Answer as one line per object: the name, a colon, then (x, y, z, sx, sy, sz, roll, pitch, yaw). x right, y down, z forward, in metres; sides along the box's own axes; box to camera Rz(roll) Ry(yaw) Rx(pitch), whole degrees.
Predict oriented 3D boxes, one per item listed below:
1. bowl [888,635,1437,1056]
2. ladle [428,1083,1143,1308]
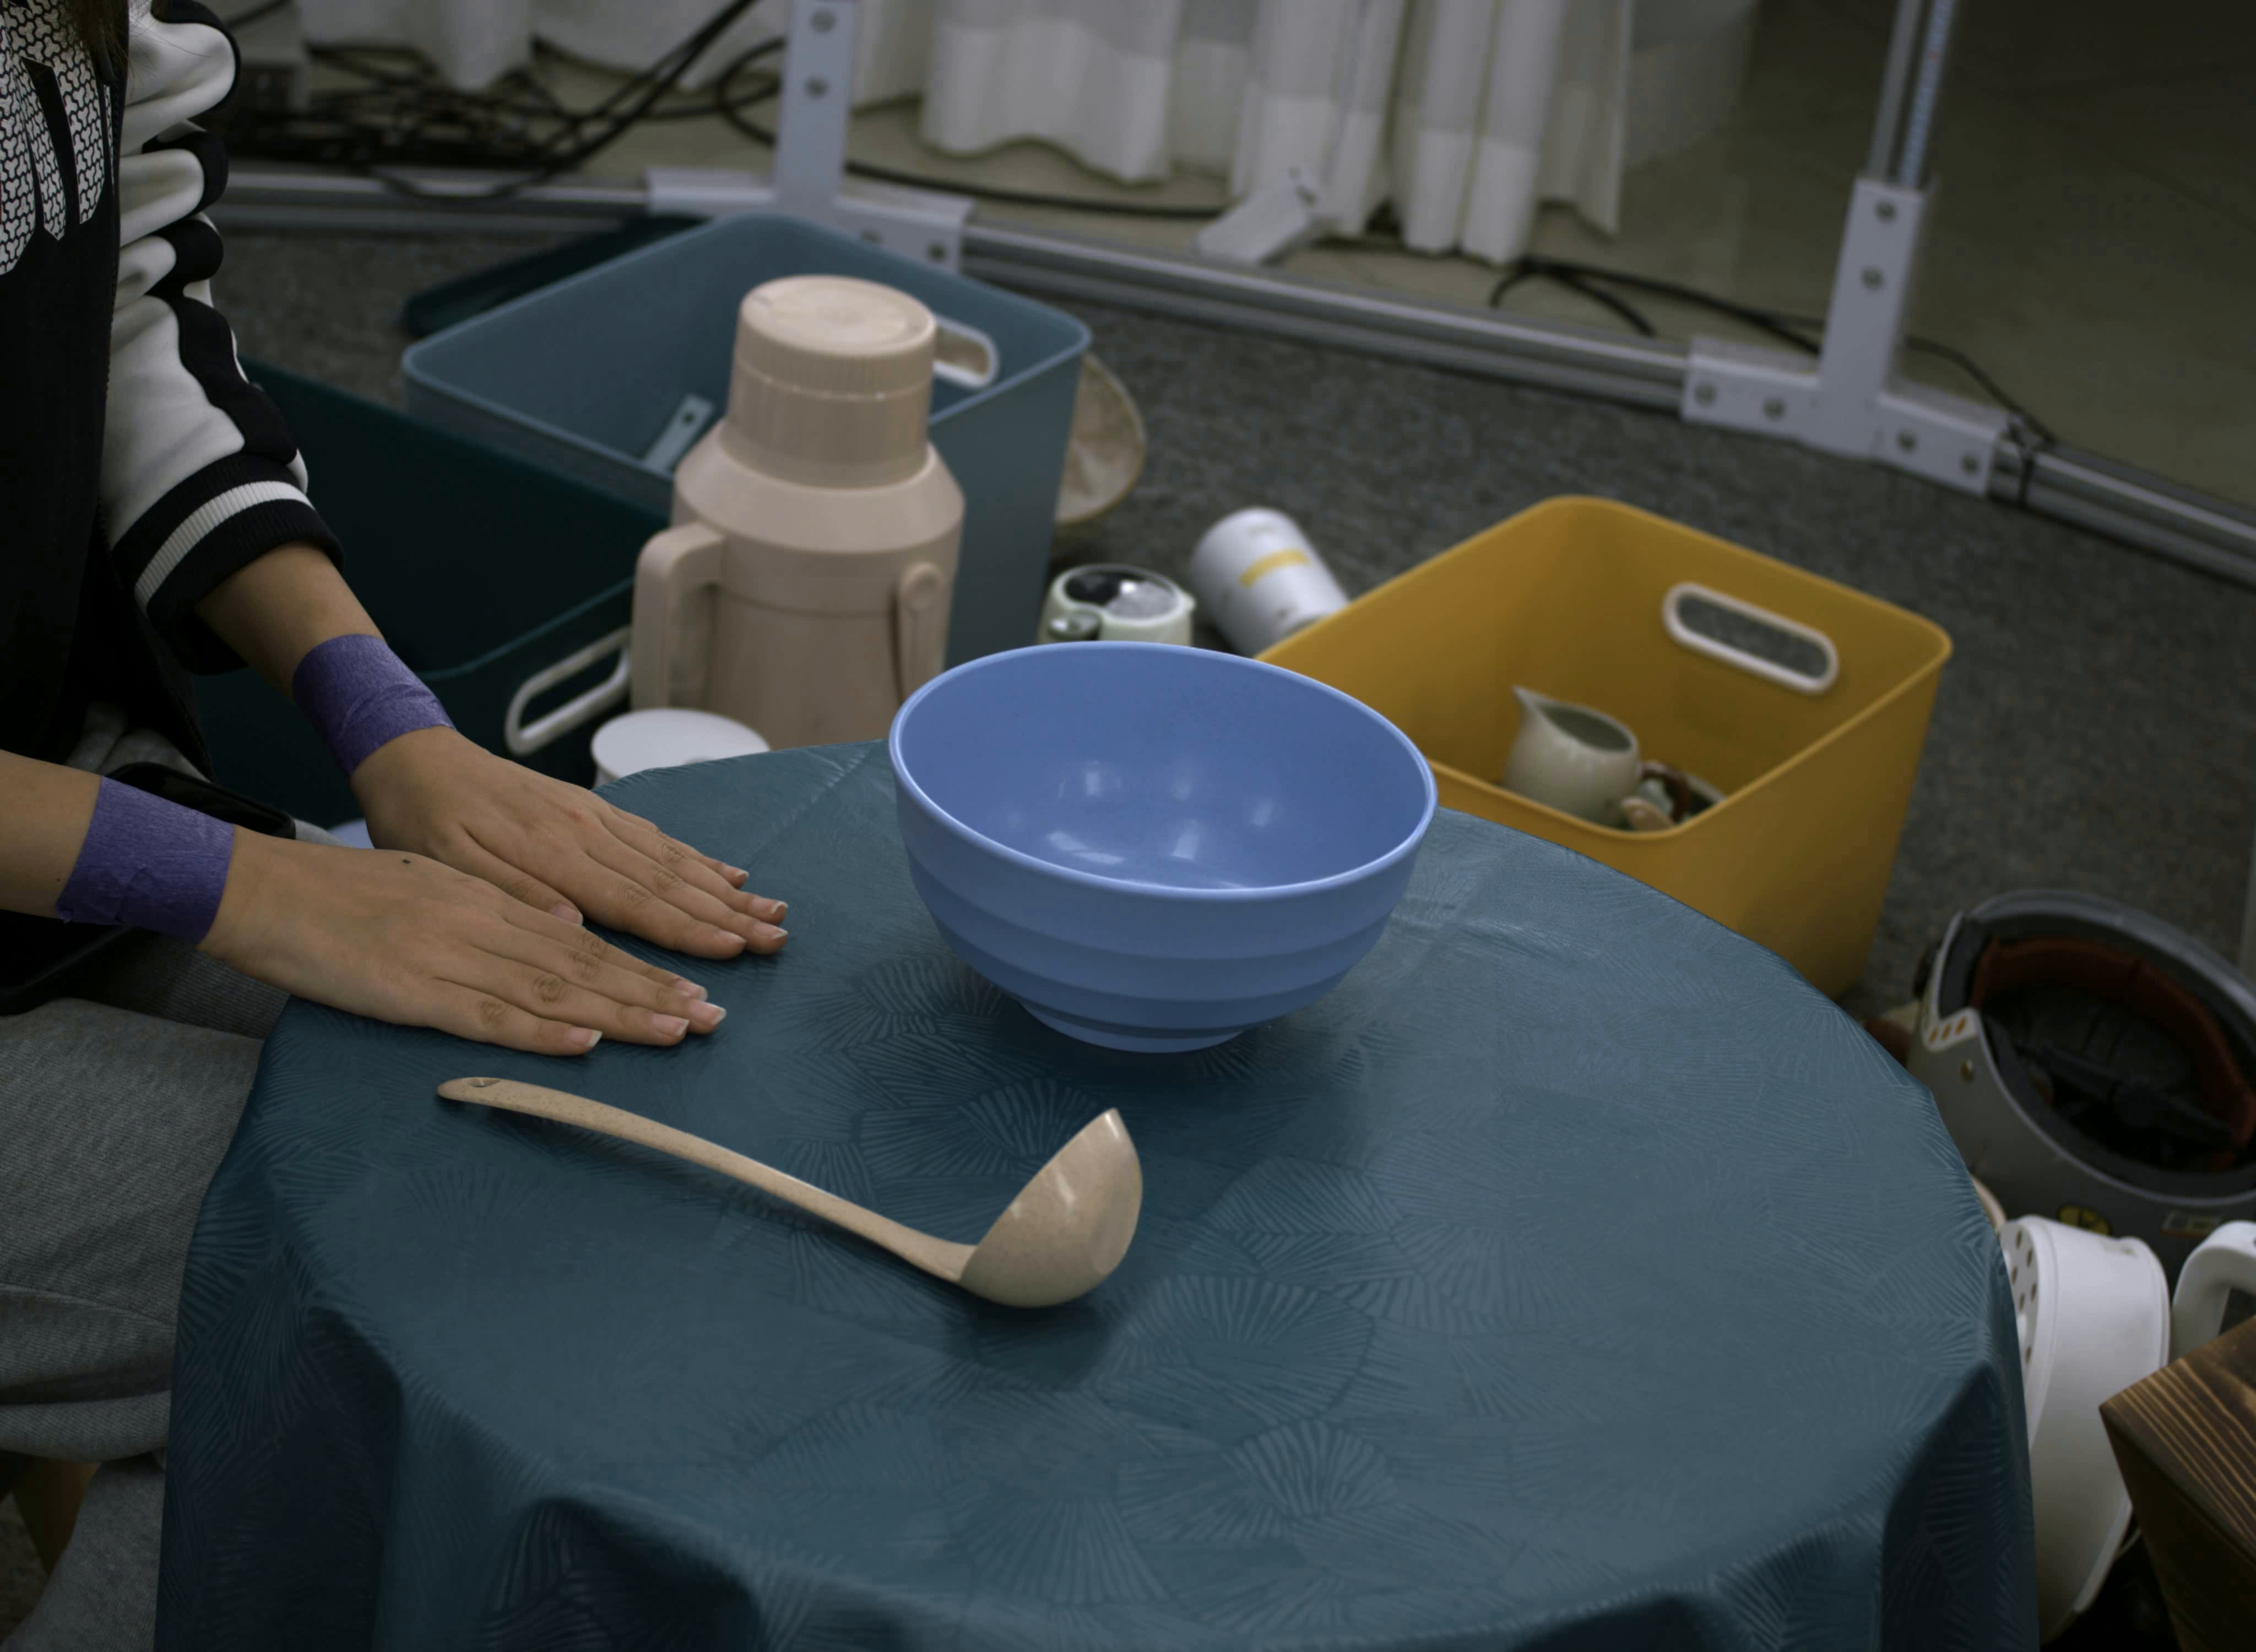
bowl: (0.008, 0.019, 1.908, 0.196, 0.095, 0.198, 5, 29, -3)
ladle: (-0.116, 0.094, 1.754, 0.255, 0.072, 0.072, 17, 21, 20)
